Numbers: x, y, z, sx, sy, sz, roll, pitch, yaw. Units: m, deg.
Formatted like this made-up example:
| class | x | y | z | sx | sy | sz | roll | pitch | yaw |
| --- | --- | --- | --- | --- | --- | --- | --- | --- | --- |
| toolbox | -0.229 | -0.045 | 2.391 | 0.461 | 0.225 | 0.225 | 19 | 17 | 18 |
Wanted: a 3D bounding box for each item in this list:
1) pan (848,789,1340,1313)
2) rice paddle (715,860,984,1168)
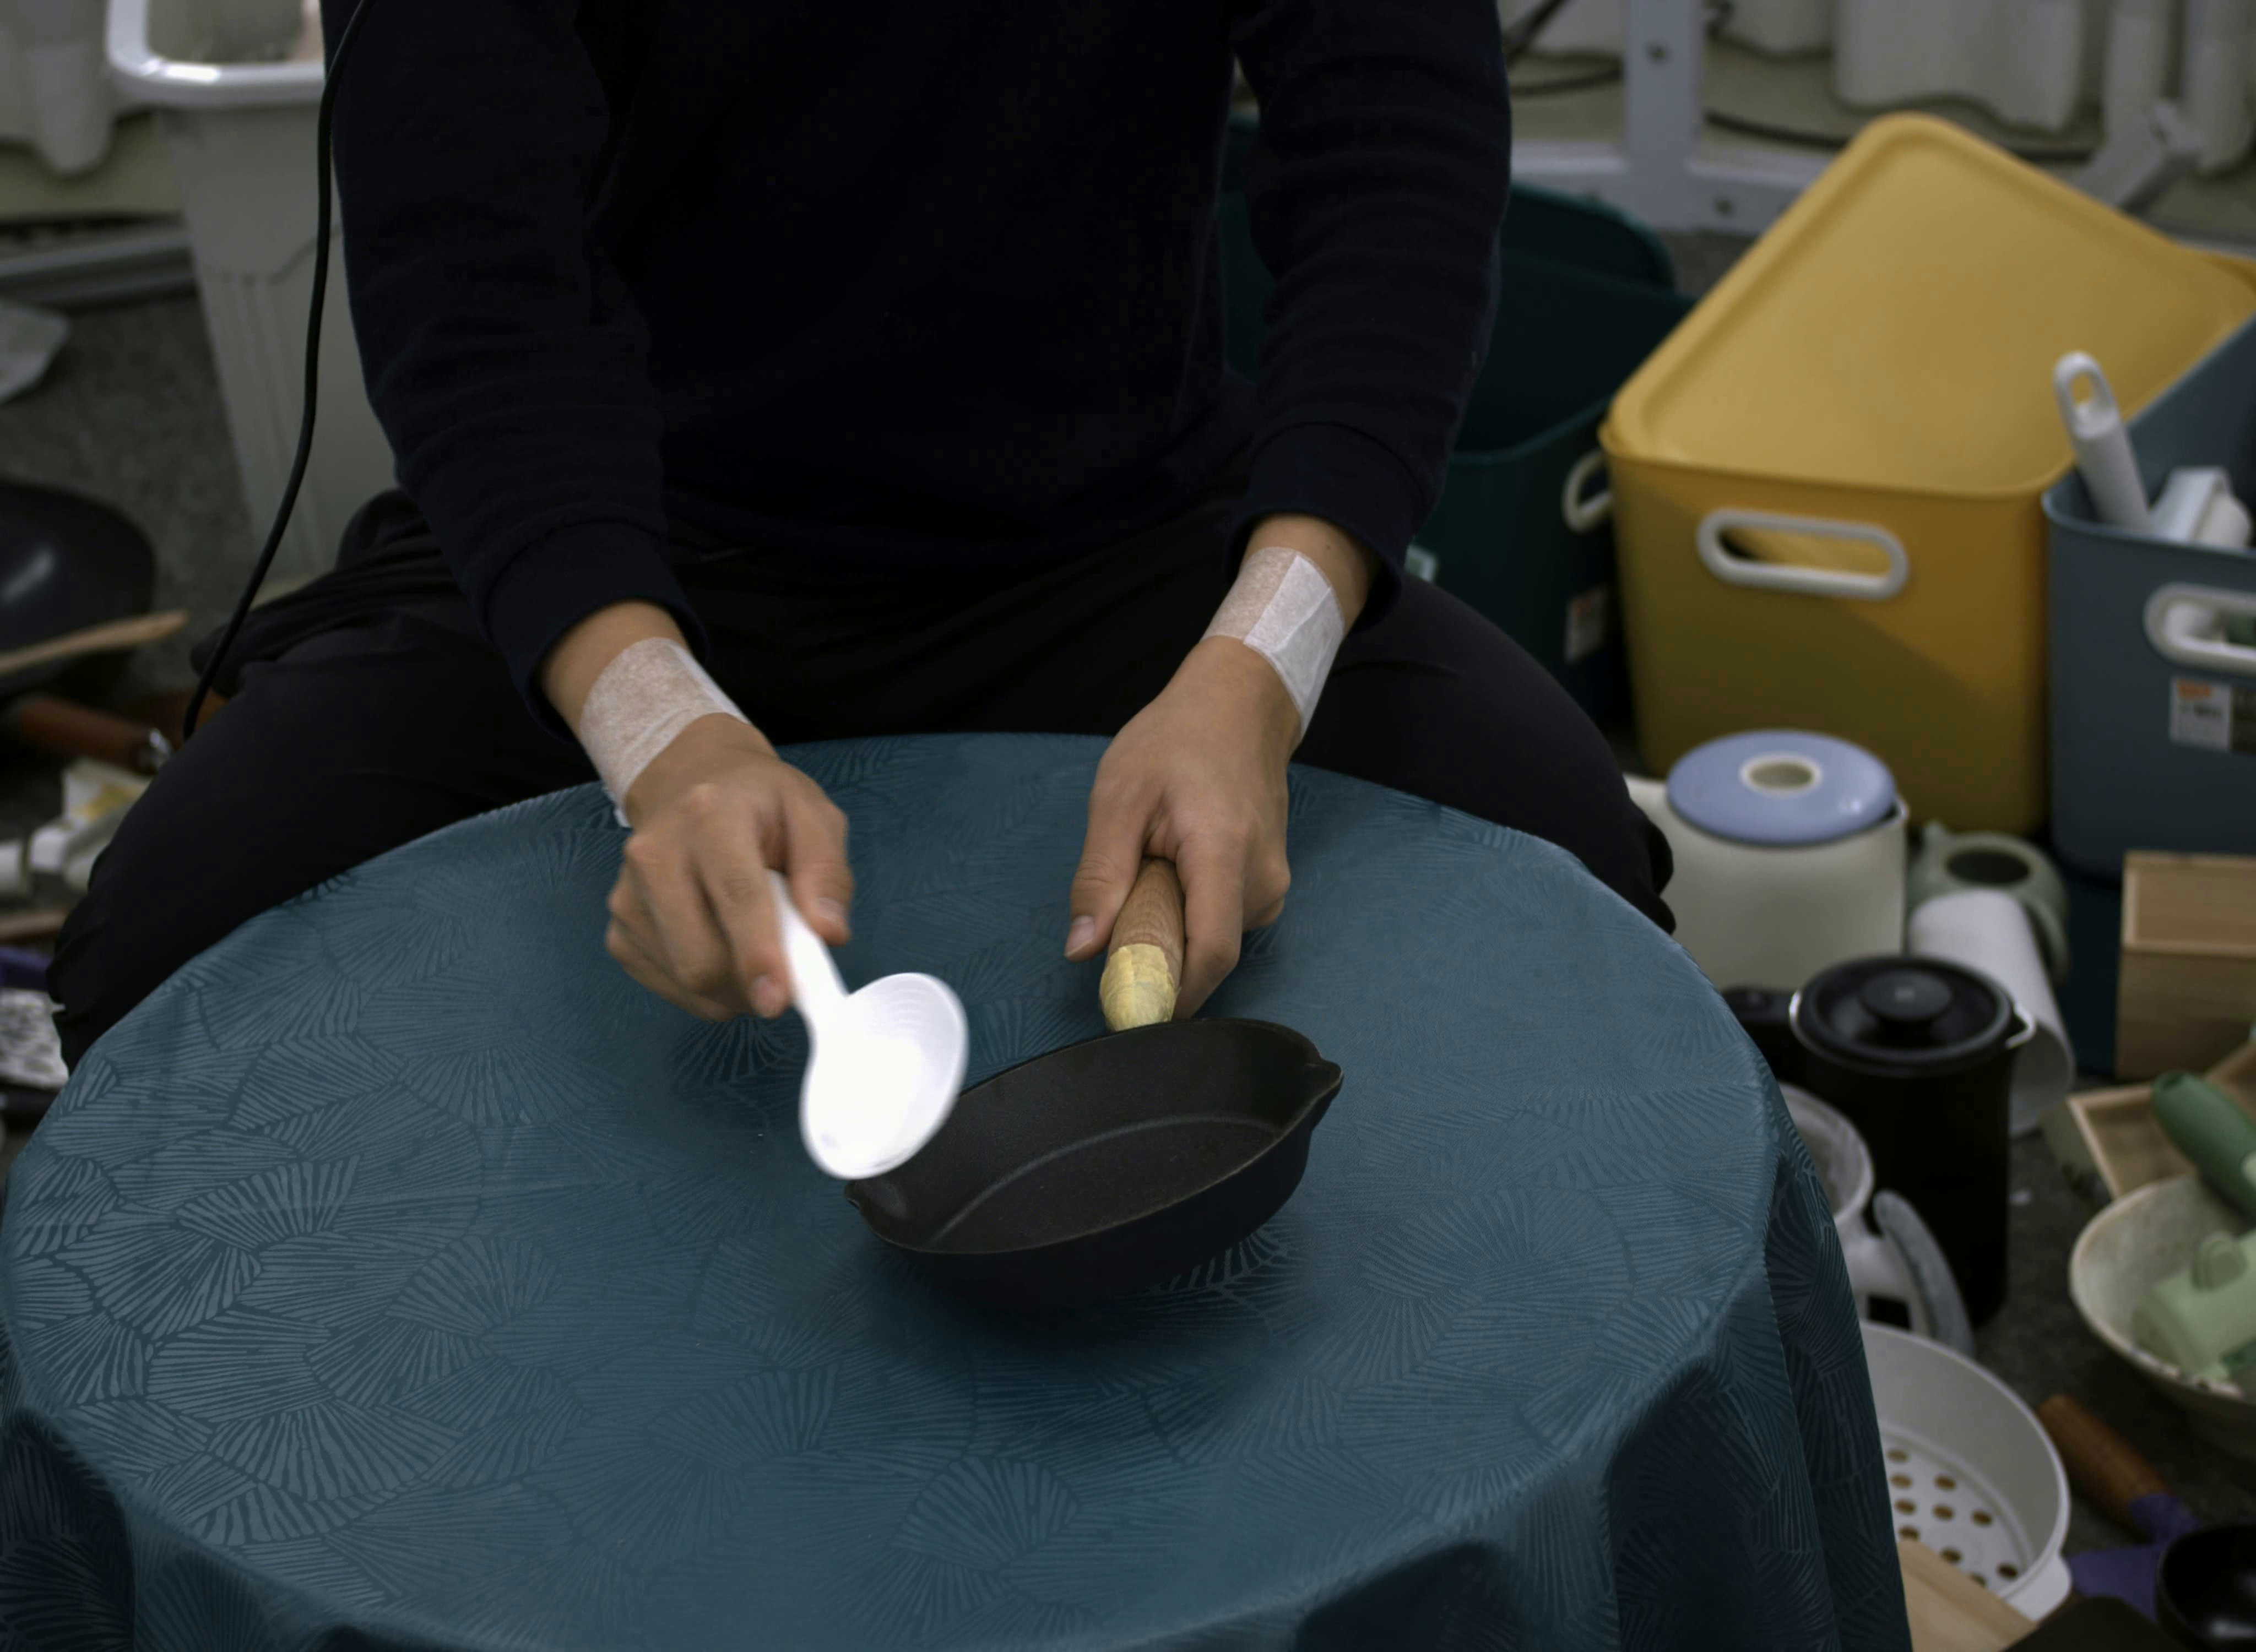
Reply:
| class | x | y | z | sx | sy | sz | roll | pitch | yaw |
| --- | --- | --- | --- | --- | --- | --- | --- | --- | --- |
| pan | 0.003 | 0.072 | 1.888 | 0.167 | 0.049 | 0.329 | -13 | 21 | 14 |
| rice paddle | -0.092 | 0.057 | 1.833 | 0.029 | 0.069 | 0.206 | 35 | 3 | -28 |
